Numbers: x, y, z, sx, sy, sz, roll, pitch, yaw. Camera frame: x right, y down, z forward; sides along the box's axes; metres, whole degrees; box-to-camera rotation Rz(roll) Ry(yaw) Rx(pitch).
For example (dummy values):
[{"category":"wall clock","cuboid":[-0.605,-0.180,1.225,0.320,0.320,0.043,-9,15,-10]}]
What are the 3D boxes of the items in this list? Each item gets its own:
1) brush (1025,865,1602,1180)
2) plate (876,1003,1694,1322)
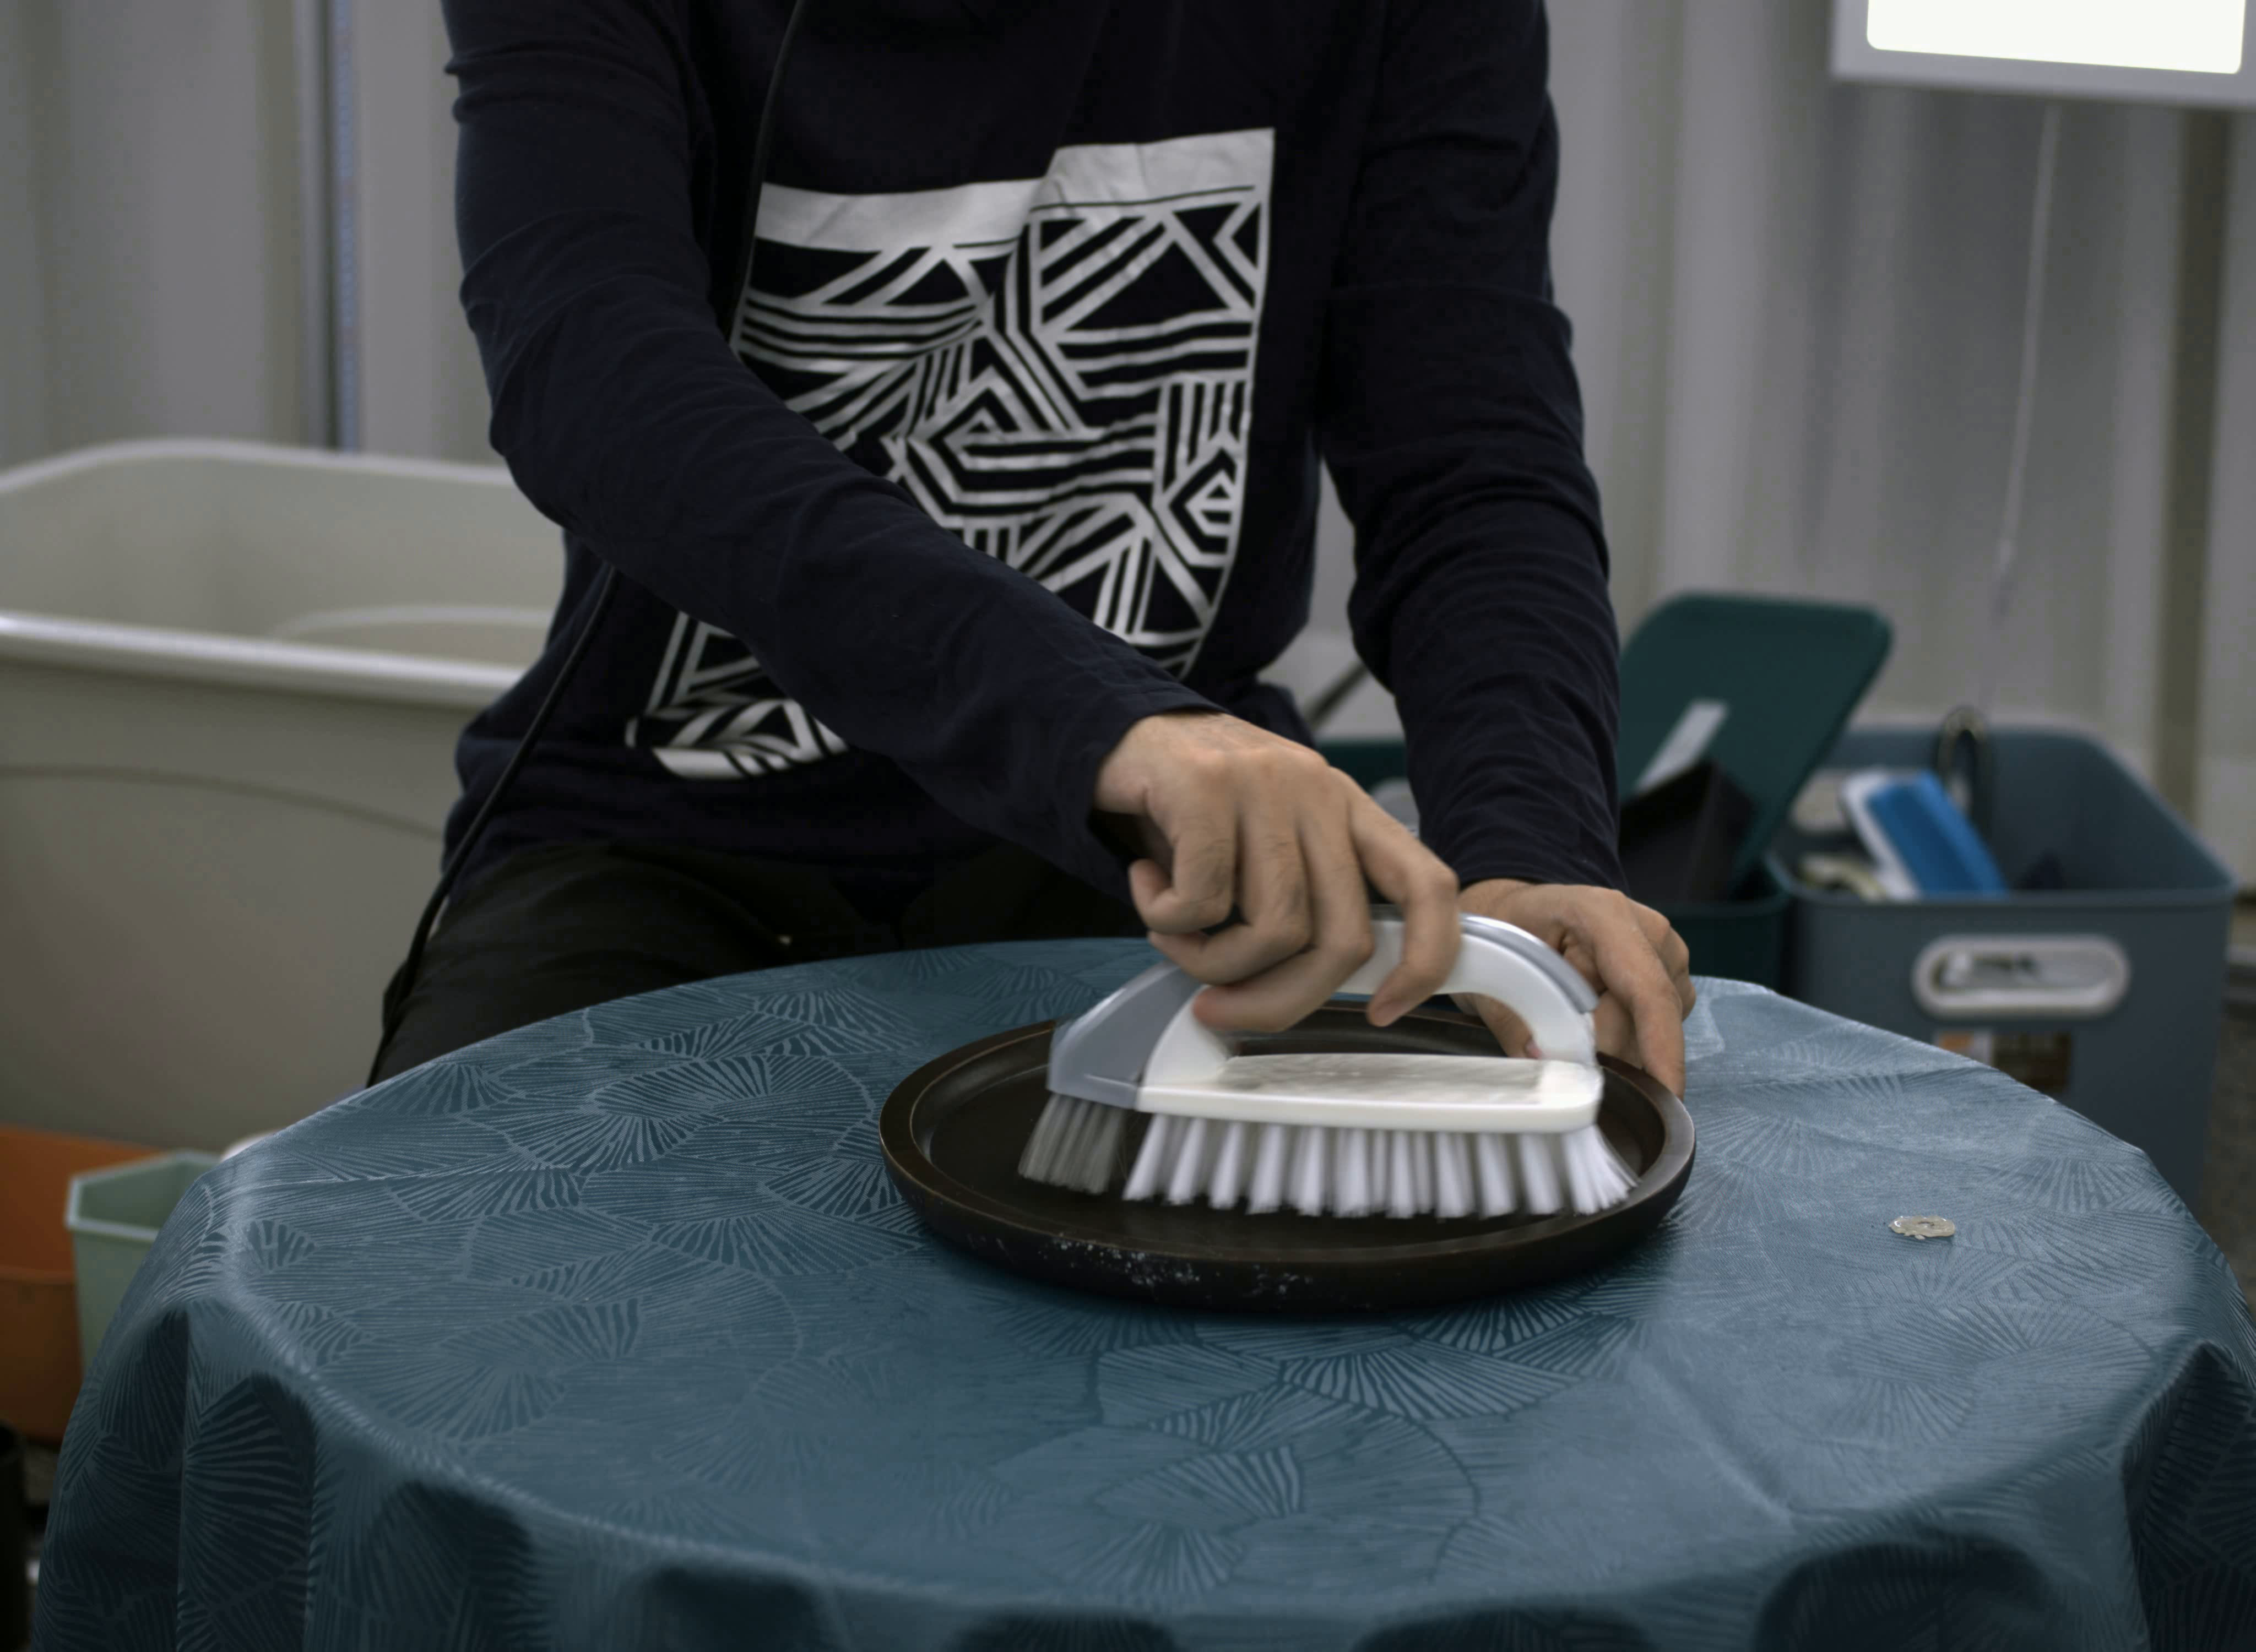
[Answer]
[{"category":"brush","cuboid":[0.052,0.059,1.564,0.174,0.095,0.061,0,13,13]},{"category":"plate","cuboid":[0.048,0.101,1.627,0.254,0.029,0.253,1,17,0]}]
